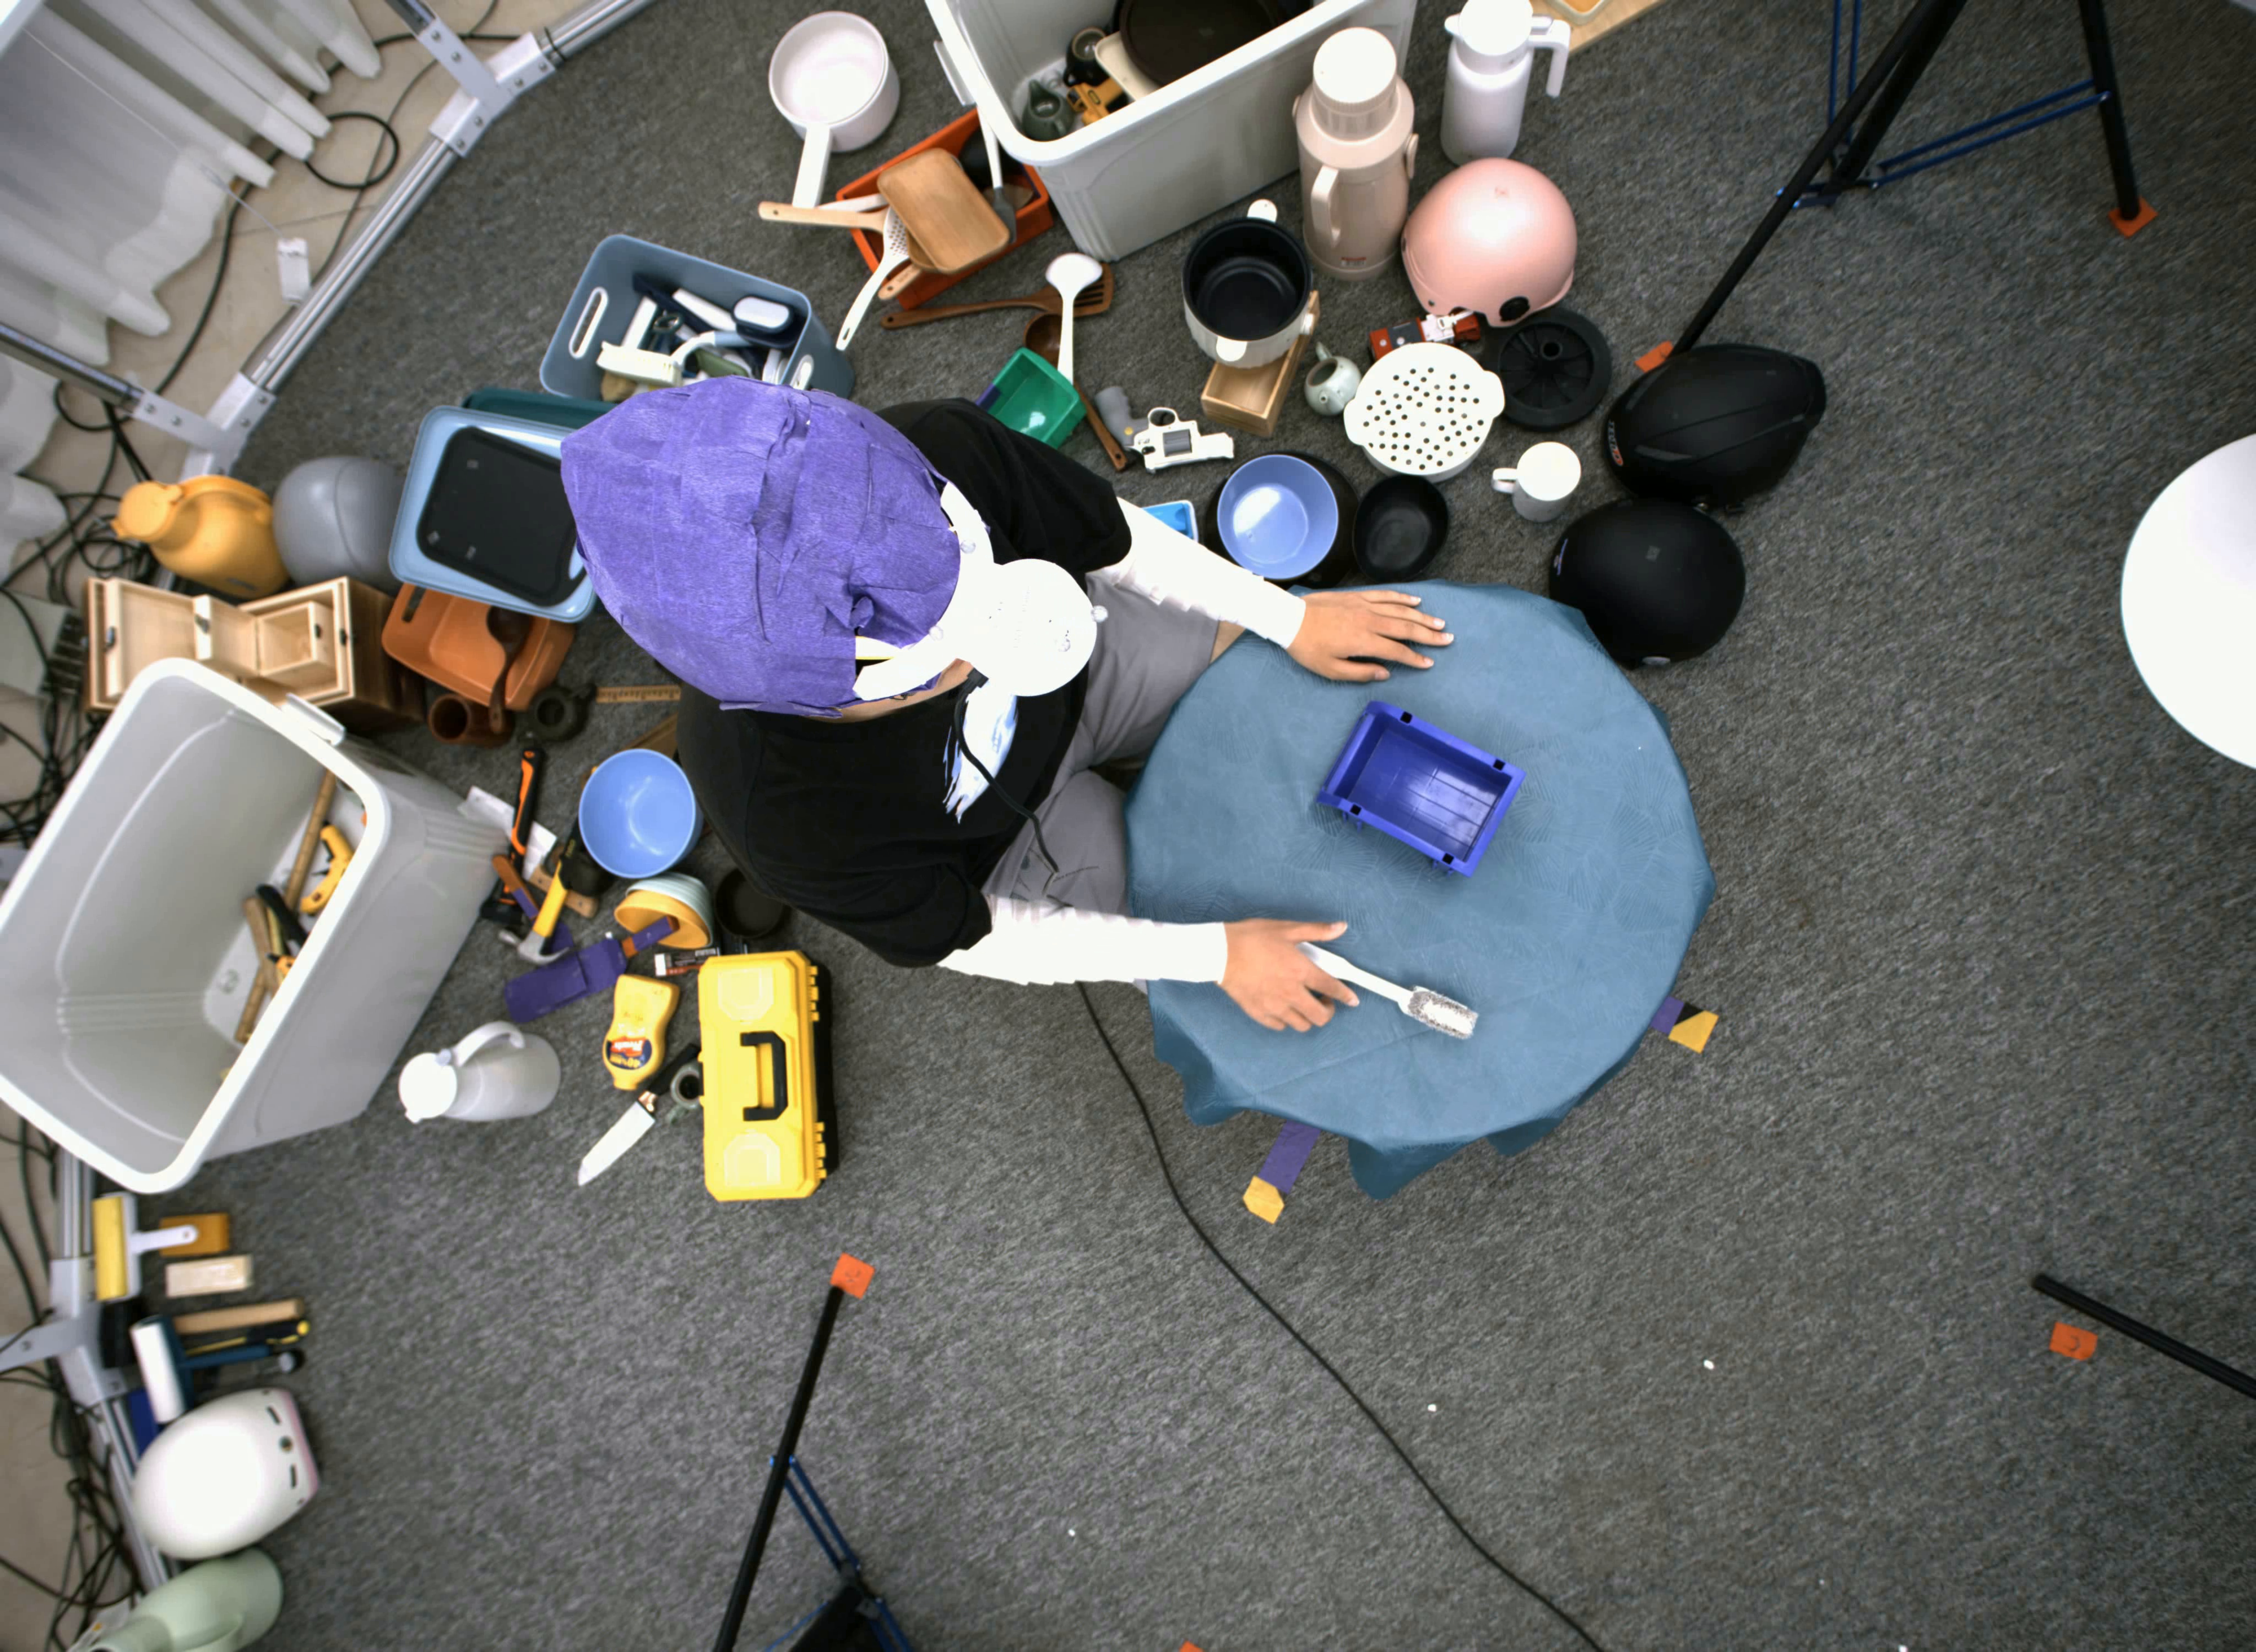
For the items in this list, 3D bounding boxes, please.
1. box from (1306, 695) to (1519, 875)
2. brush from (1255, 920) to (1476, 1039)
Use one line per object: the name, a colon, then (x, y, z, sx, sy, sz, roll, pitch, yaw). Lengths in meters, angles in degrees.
box: (0.289, -0.043, 1.420, 0.179, 0.082, 0.125, 30, 92, 10)
brush: (0.243, 0.155, 1.434, 0.243, 0.050, 0.034, 25, 90, 10)
